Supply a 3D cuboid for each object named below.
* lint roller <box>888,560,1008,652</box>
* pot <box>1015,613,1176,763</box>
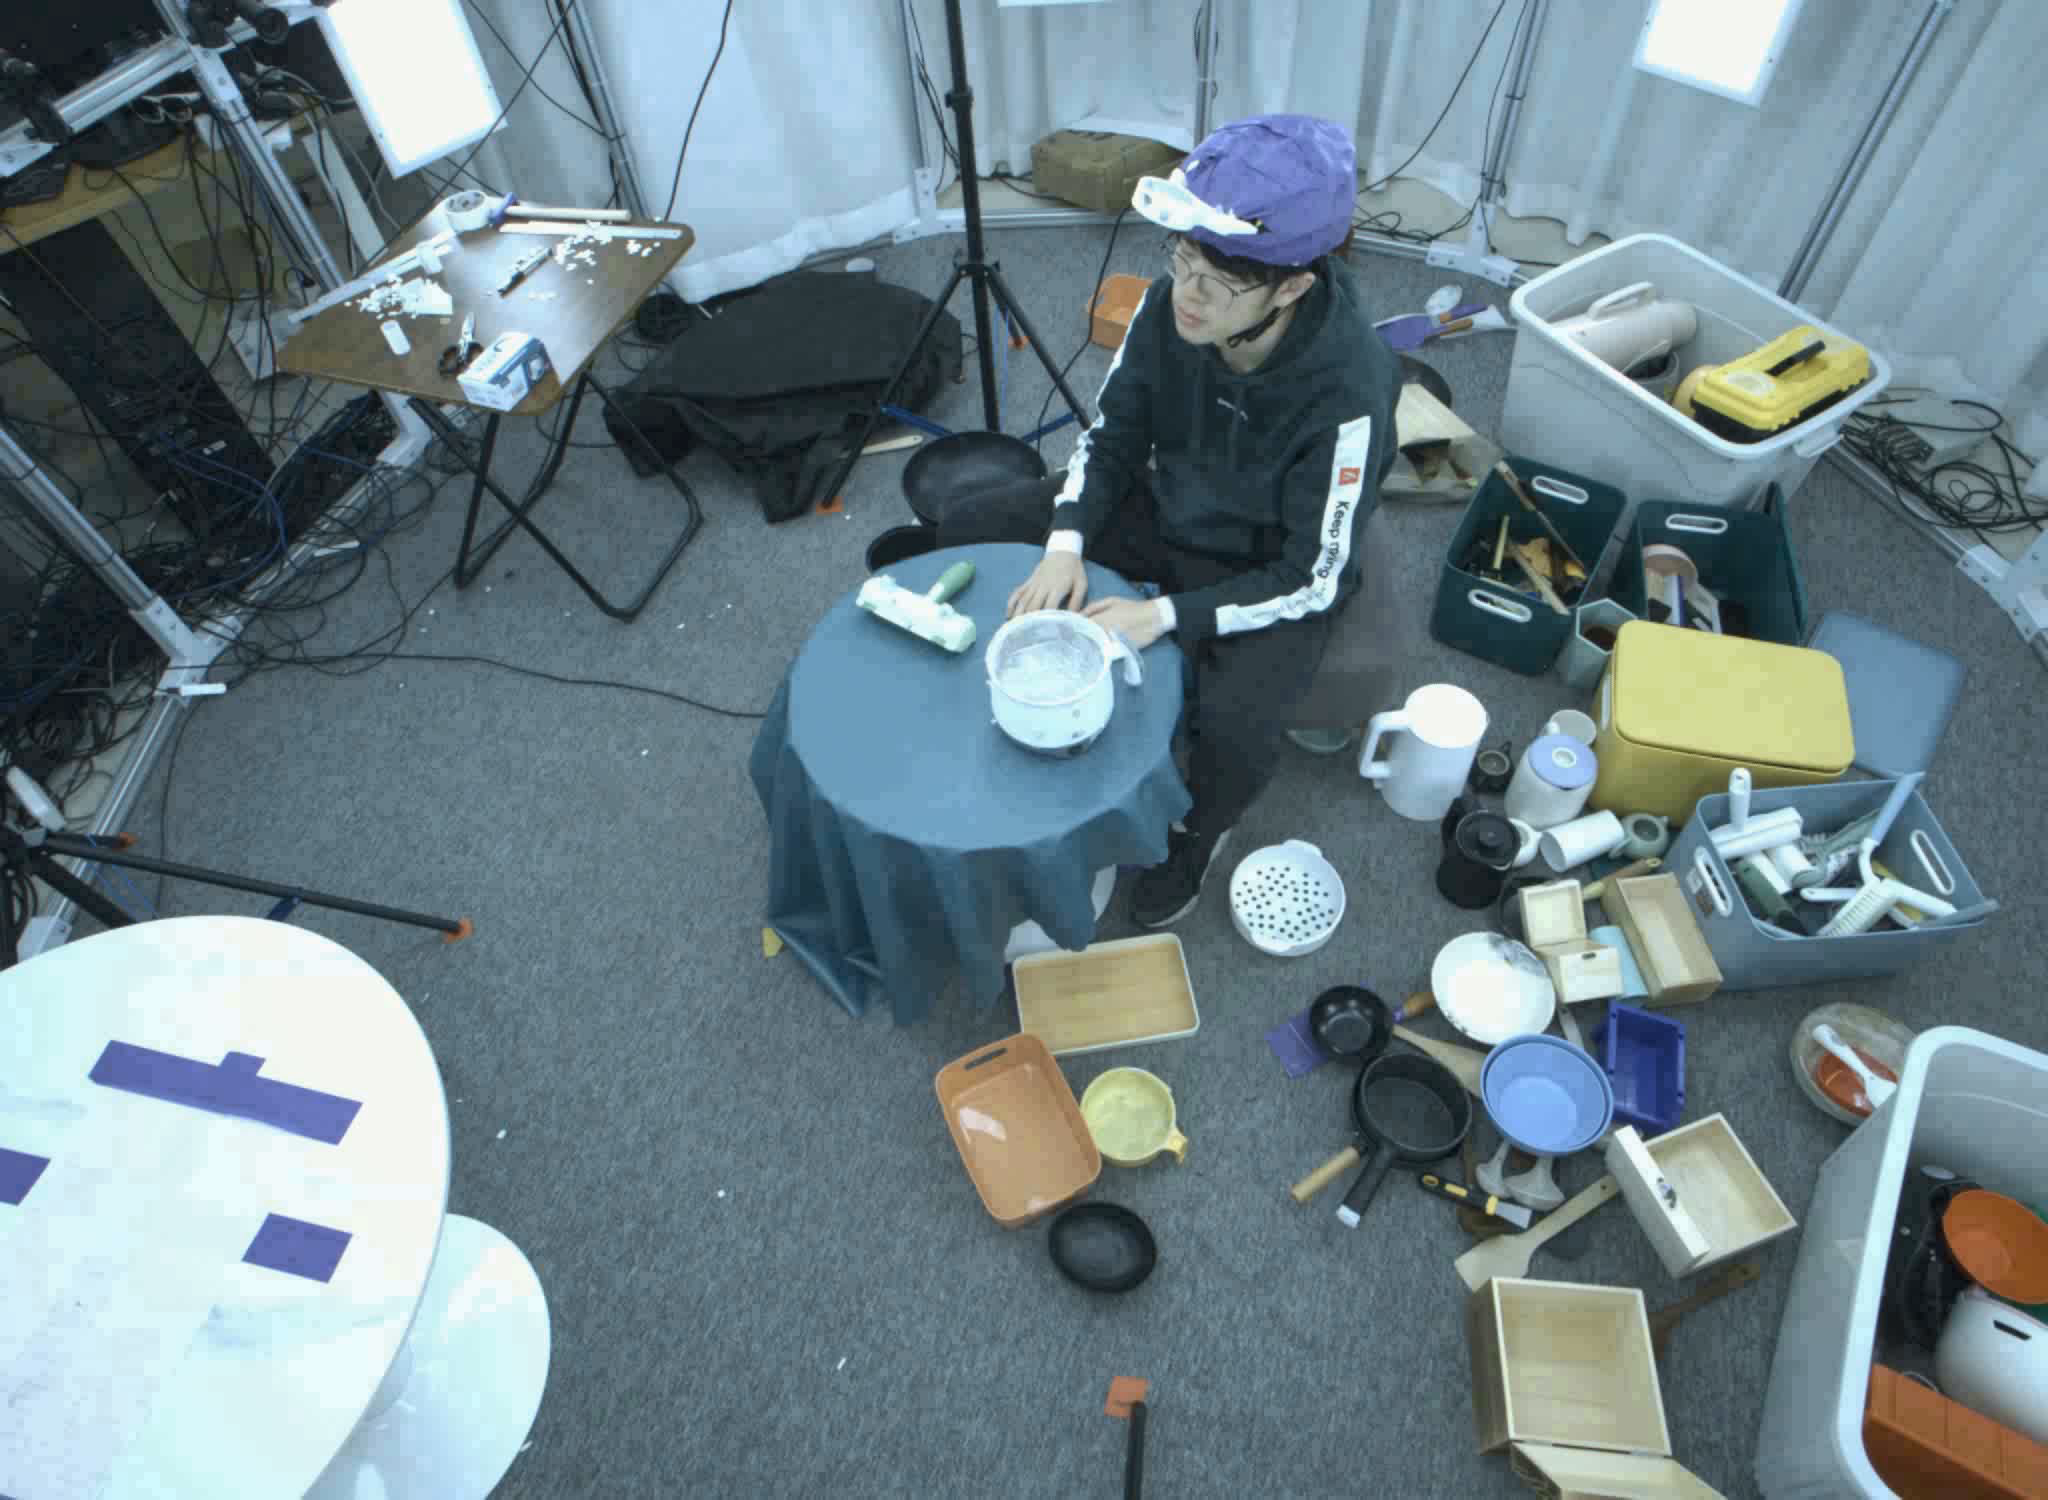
[{"bbox_3d":[-0.087,-0.255,1.921,0.195,0.083,0.184,29,65,21],"label":"lint roller"},{"bbox_3d":[0.107,-0.096,1.762,0.235,0.138,0.175,-19,56,-9],"label":"pot"}]
